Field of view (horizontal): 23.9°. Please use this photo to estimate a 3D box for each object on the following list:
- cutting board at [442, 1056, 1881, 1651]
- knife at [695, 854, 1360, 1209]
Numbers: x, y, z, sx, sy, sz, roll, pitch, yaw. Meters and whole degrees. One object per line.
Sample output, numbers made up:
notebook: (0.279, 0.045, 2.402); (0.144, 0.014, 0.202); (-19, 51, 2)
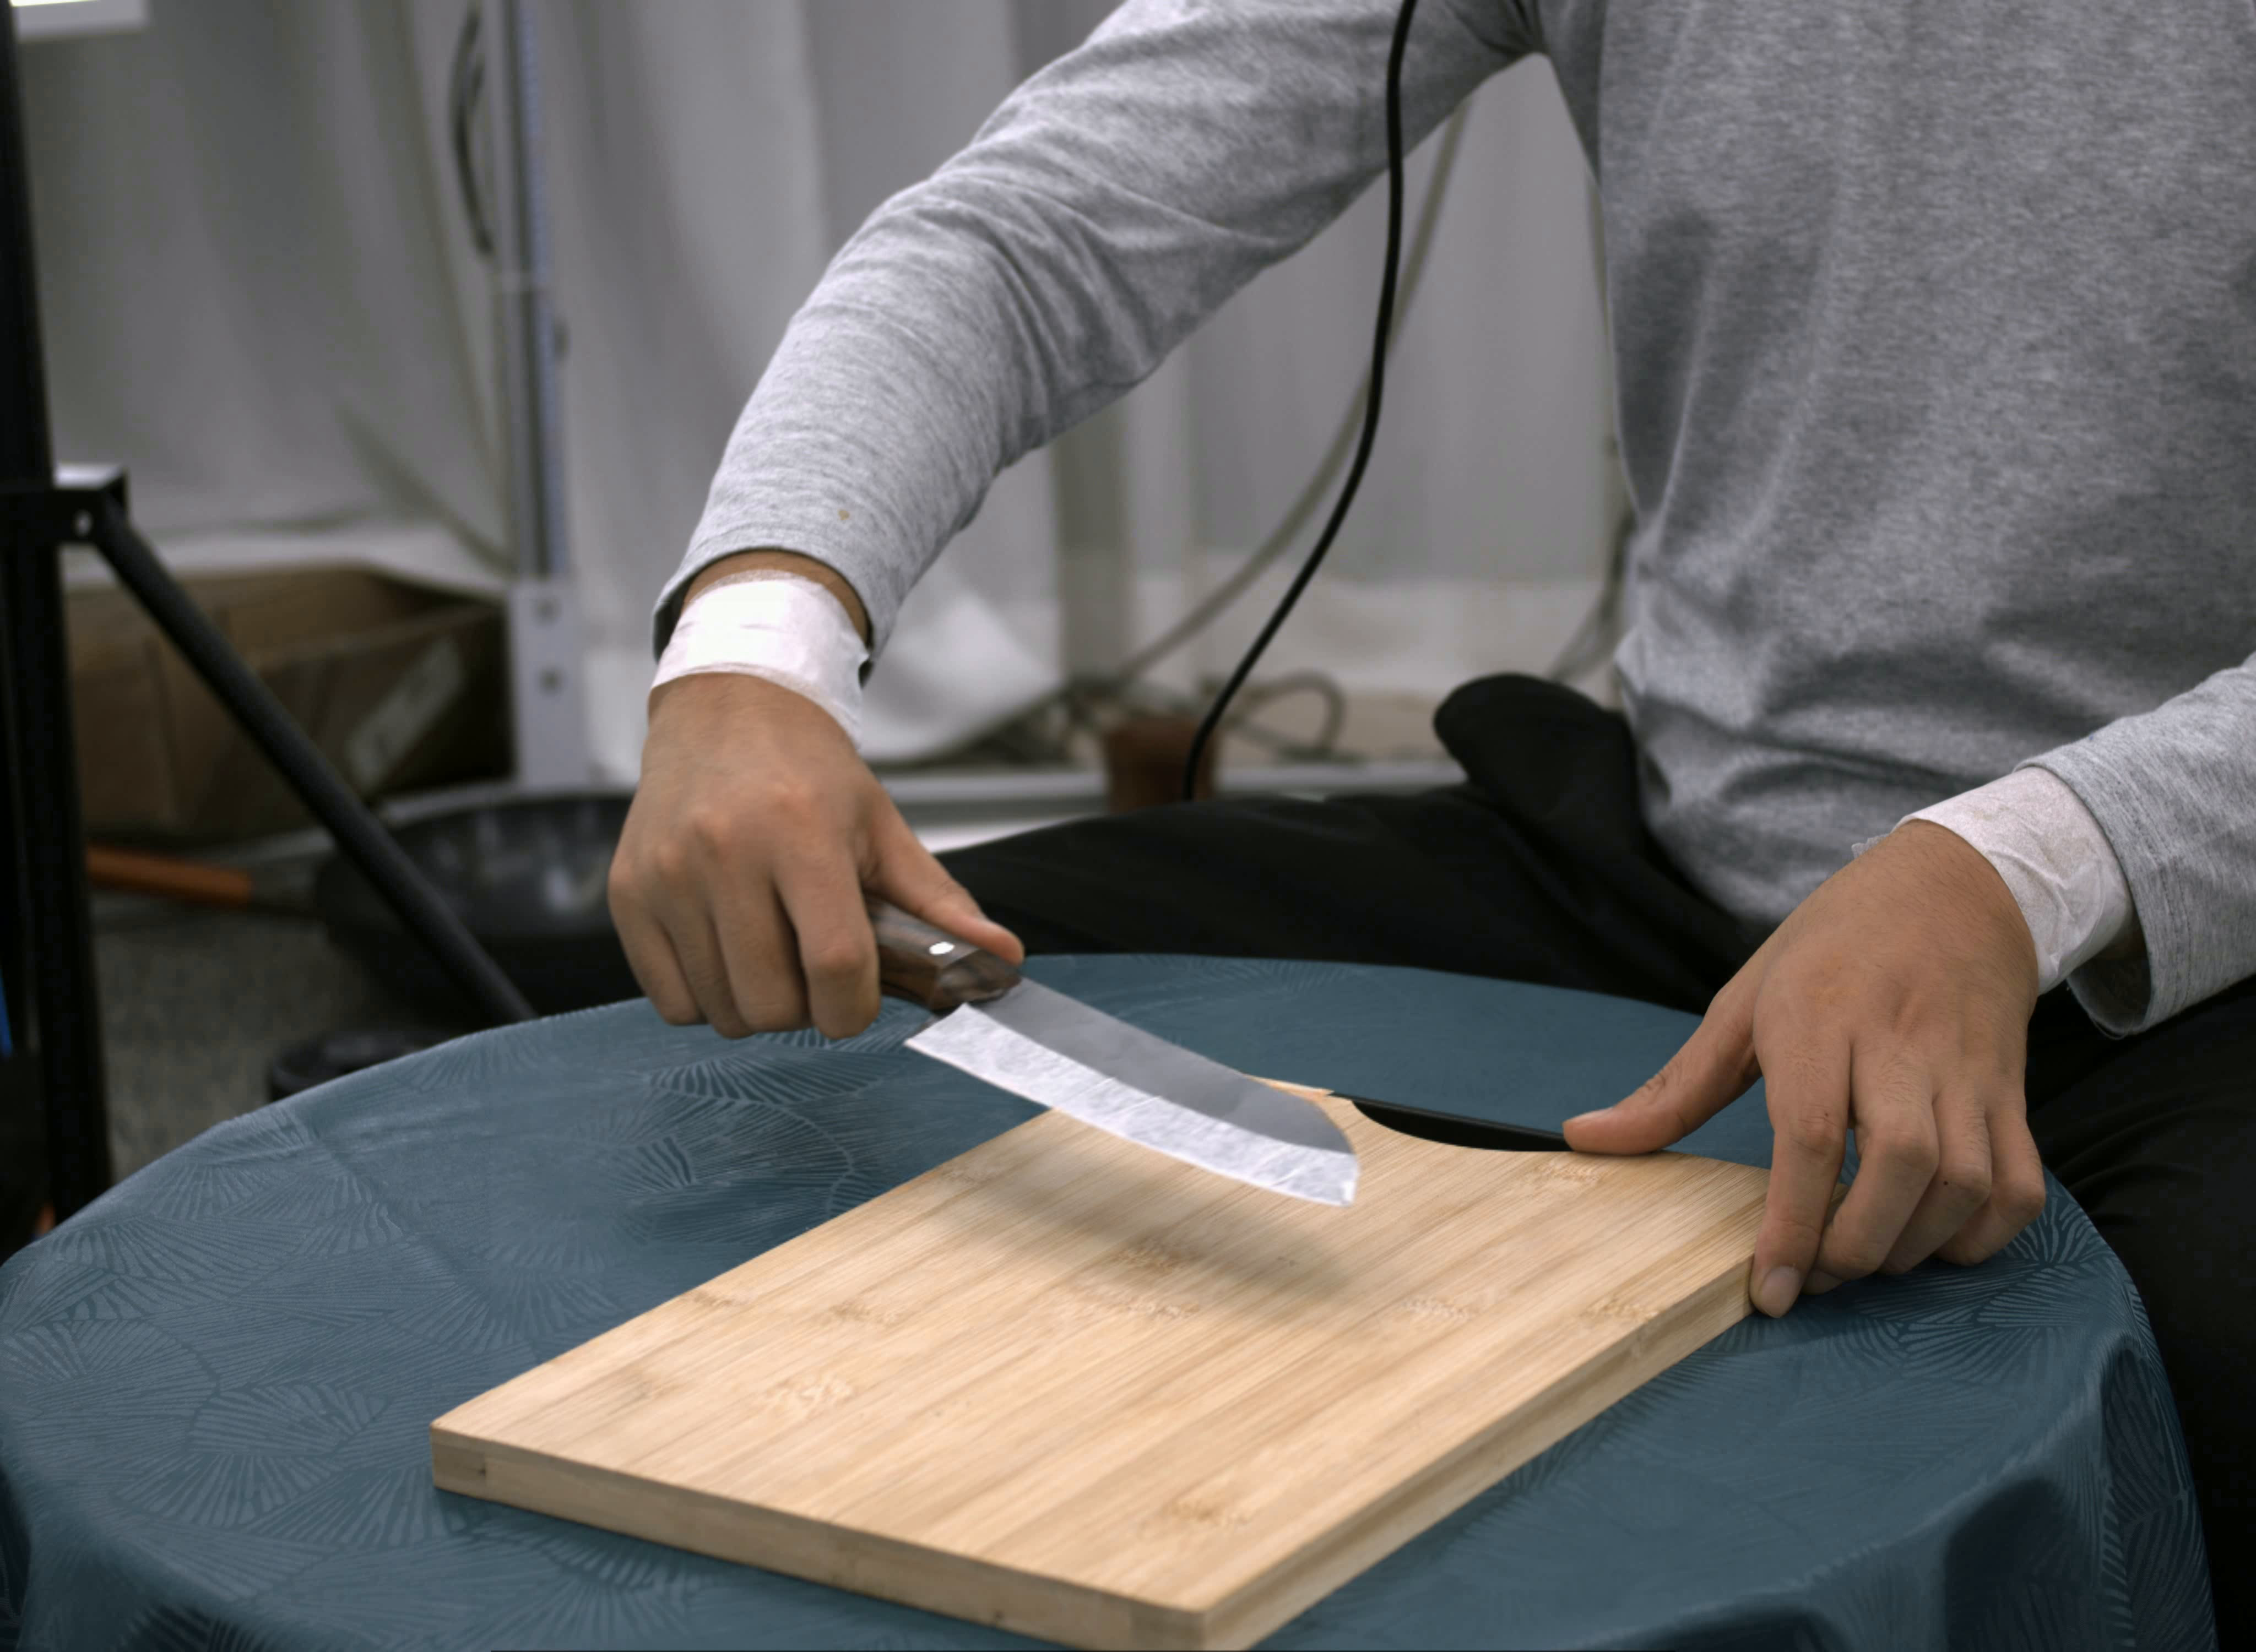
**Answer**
cutting board: (0.016, 0.136, 1.433); (0.256, 0.023, 0.342); (9, 19, 33)
knife: (-0.033, 0.058, 1.510); (0.049, 0.020, 0.296); (-30, 34, -29)
